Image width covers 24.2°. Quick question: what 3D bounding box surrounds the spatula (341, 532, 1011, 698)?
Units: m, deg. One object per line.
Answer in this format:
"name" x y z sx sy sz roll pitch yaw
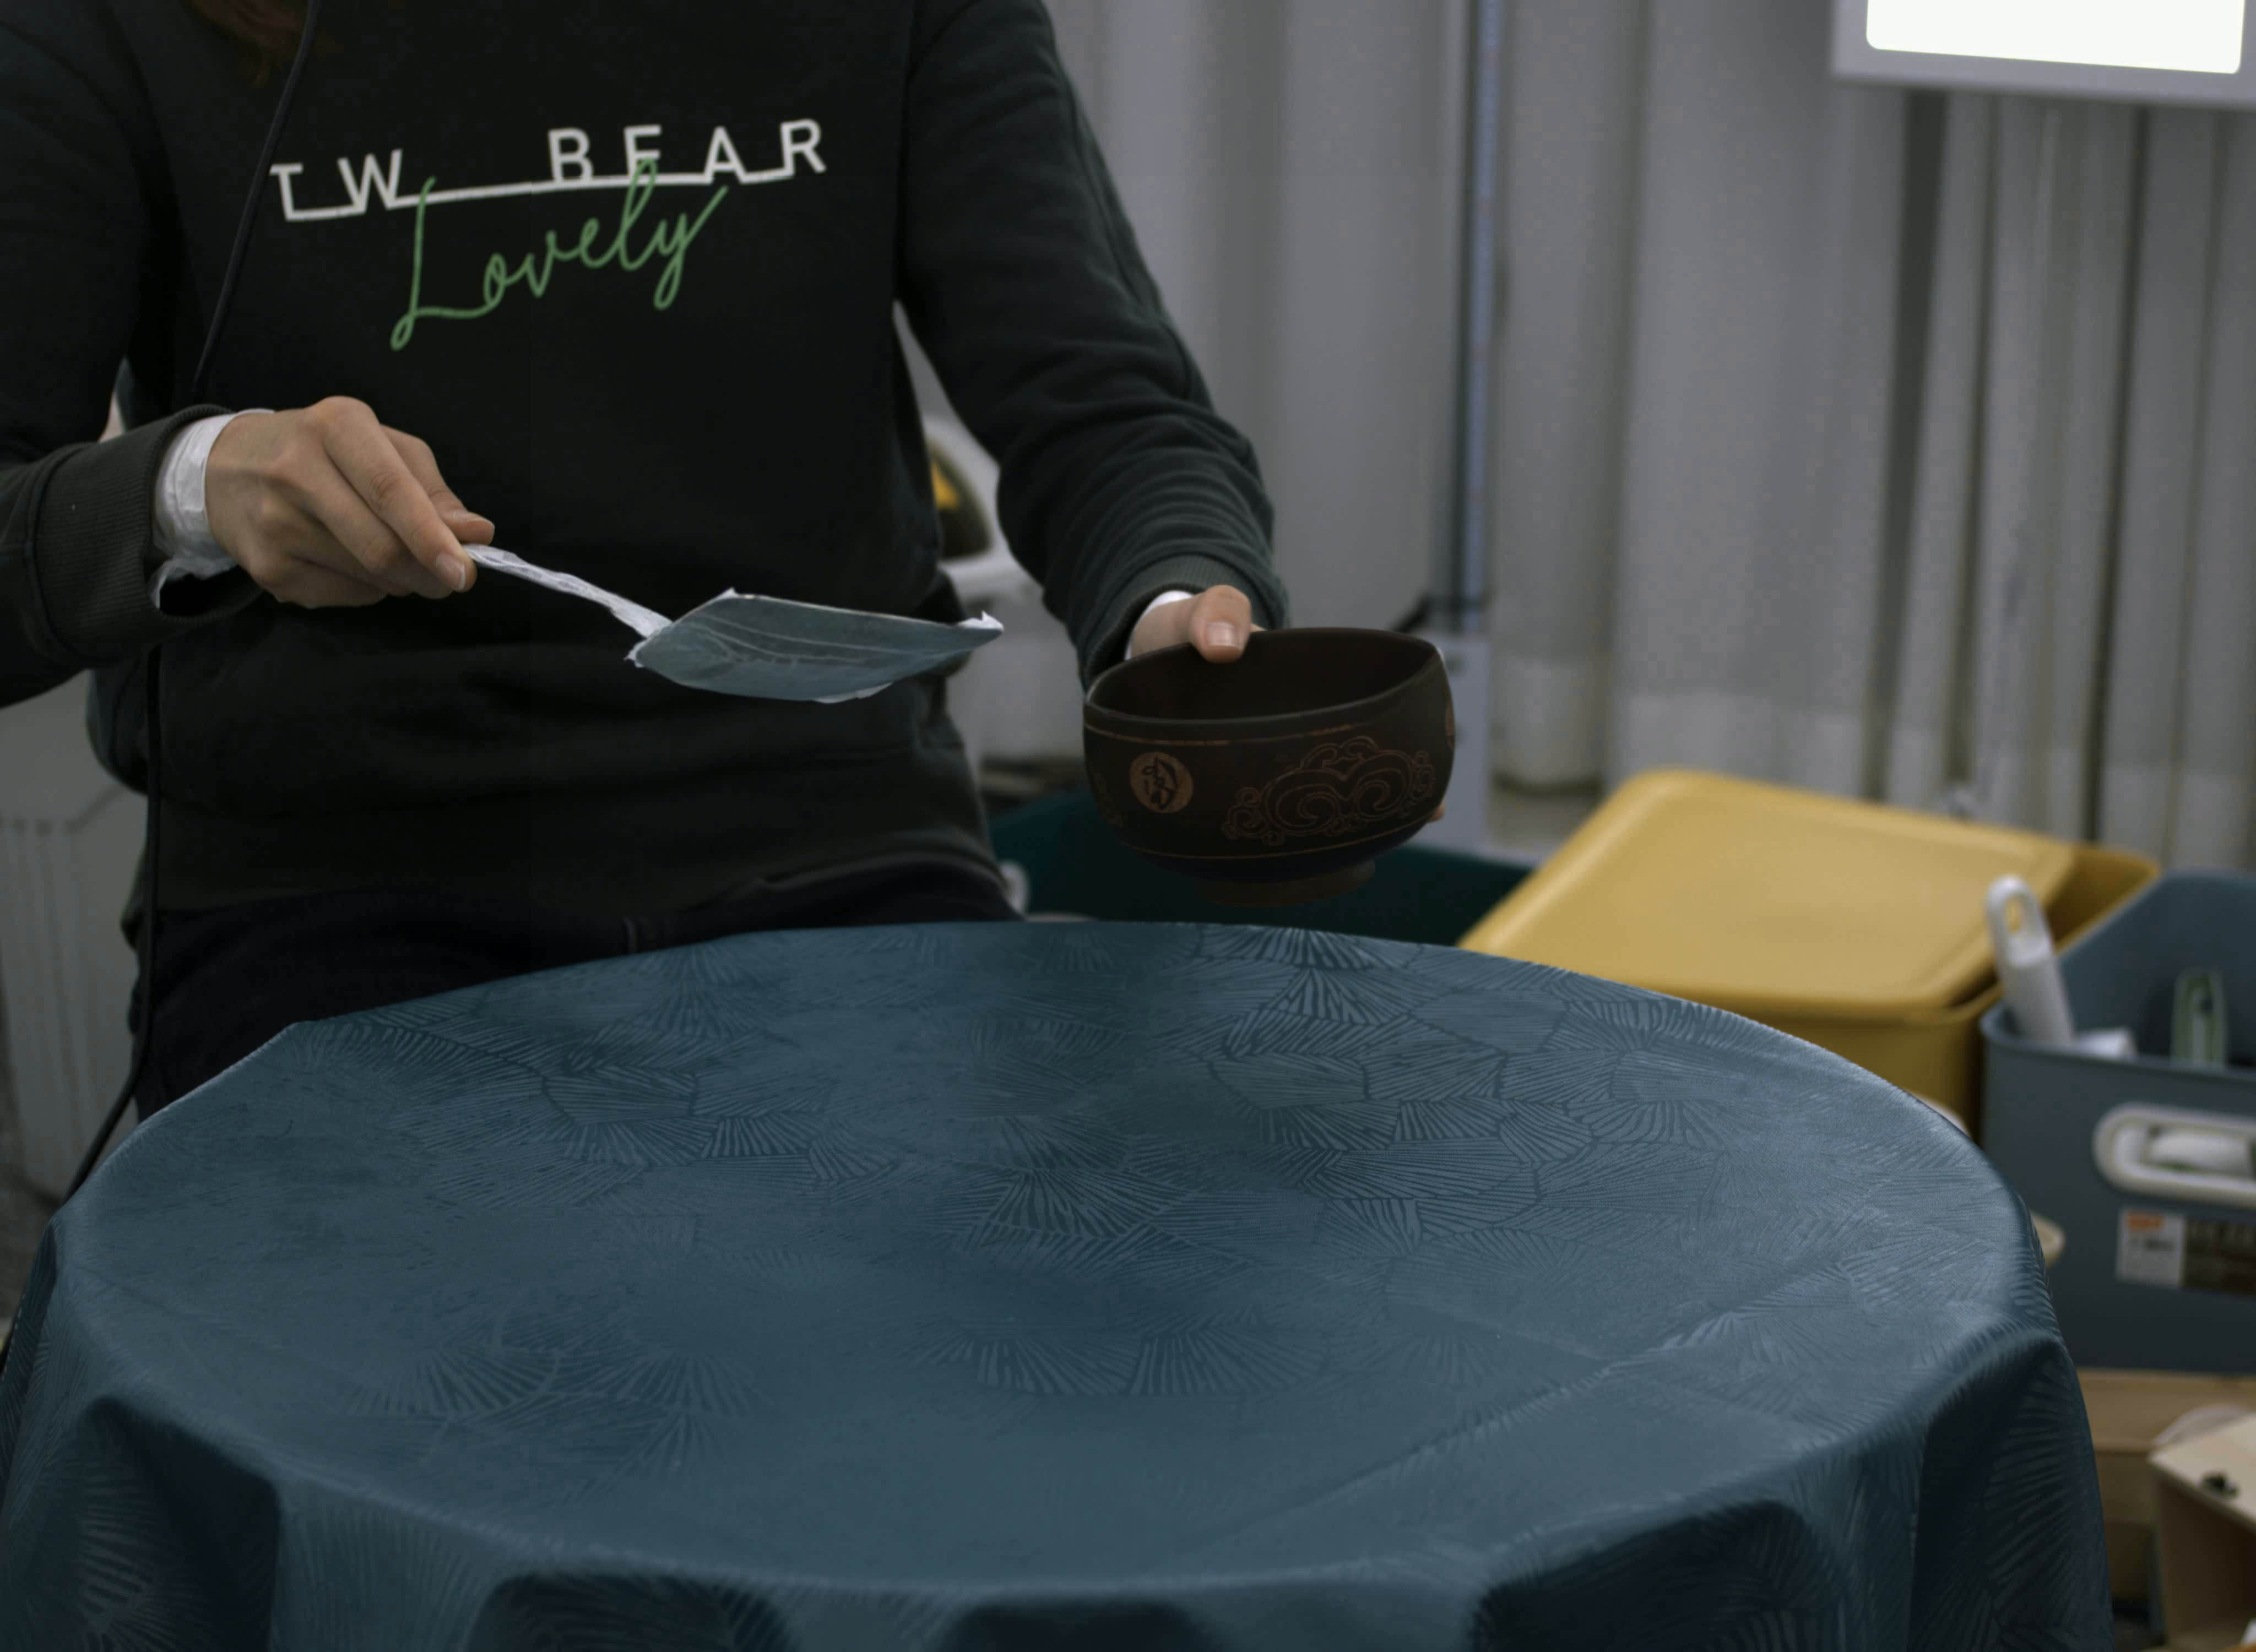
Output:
"spatula" -0.165 -0.077 1.632 0.099 0.045 0.360 3 10 -35

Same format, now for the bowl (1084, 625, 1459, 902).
"bowl" 0.047 -0.017 1.662 0.117 0.070 0.117 -5 15 2
